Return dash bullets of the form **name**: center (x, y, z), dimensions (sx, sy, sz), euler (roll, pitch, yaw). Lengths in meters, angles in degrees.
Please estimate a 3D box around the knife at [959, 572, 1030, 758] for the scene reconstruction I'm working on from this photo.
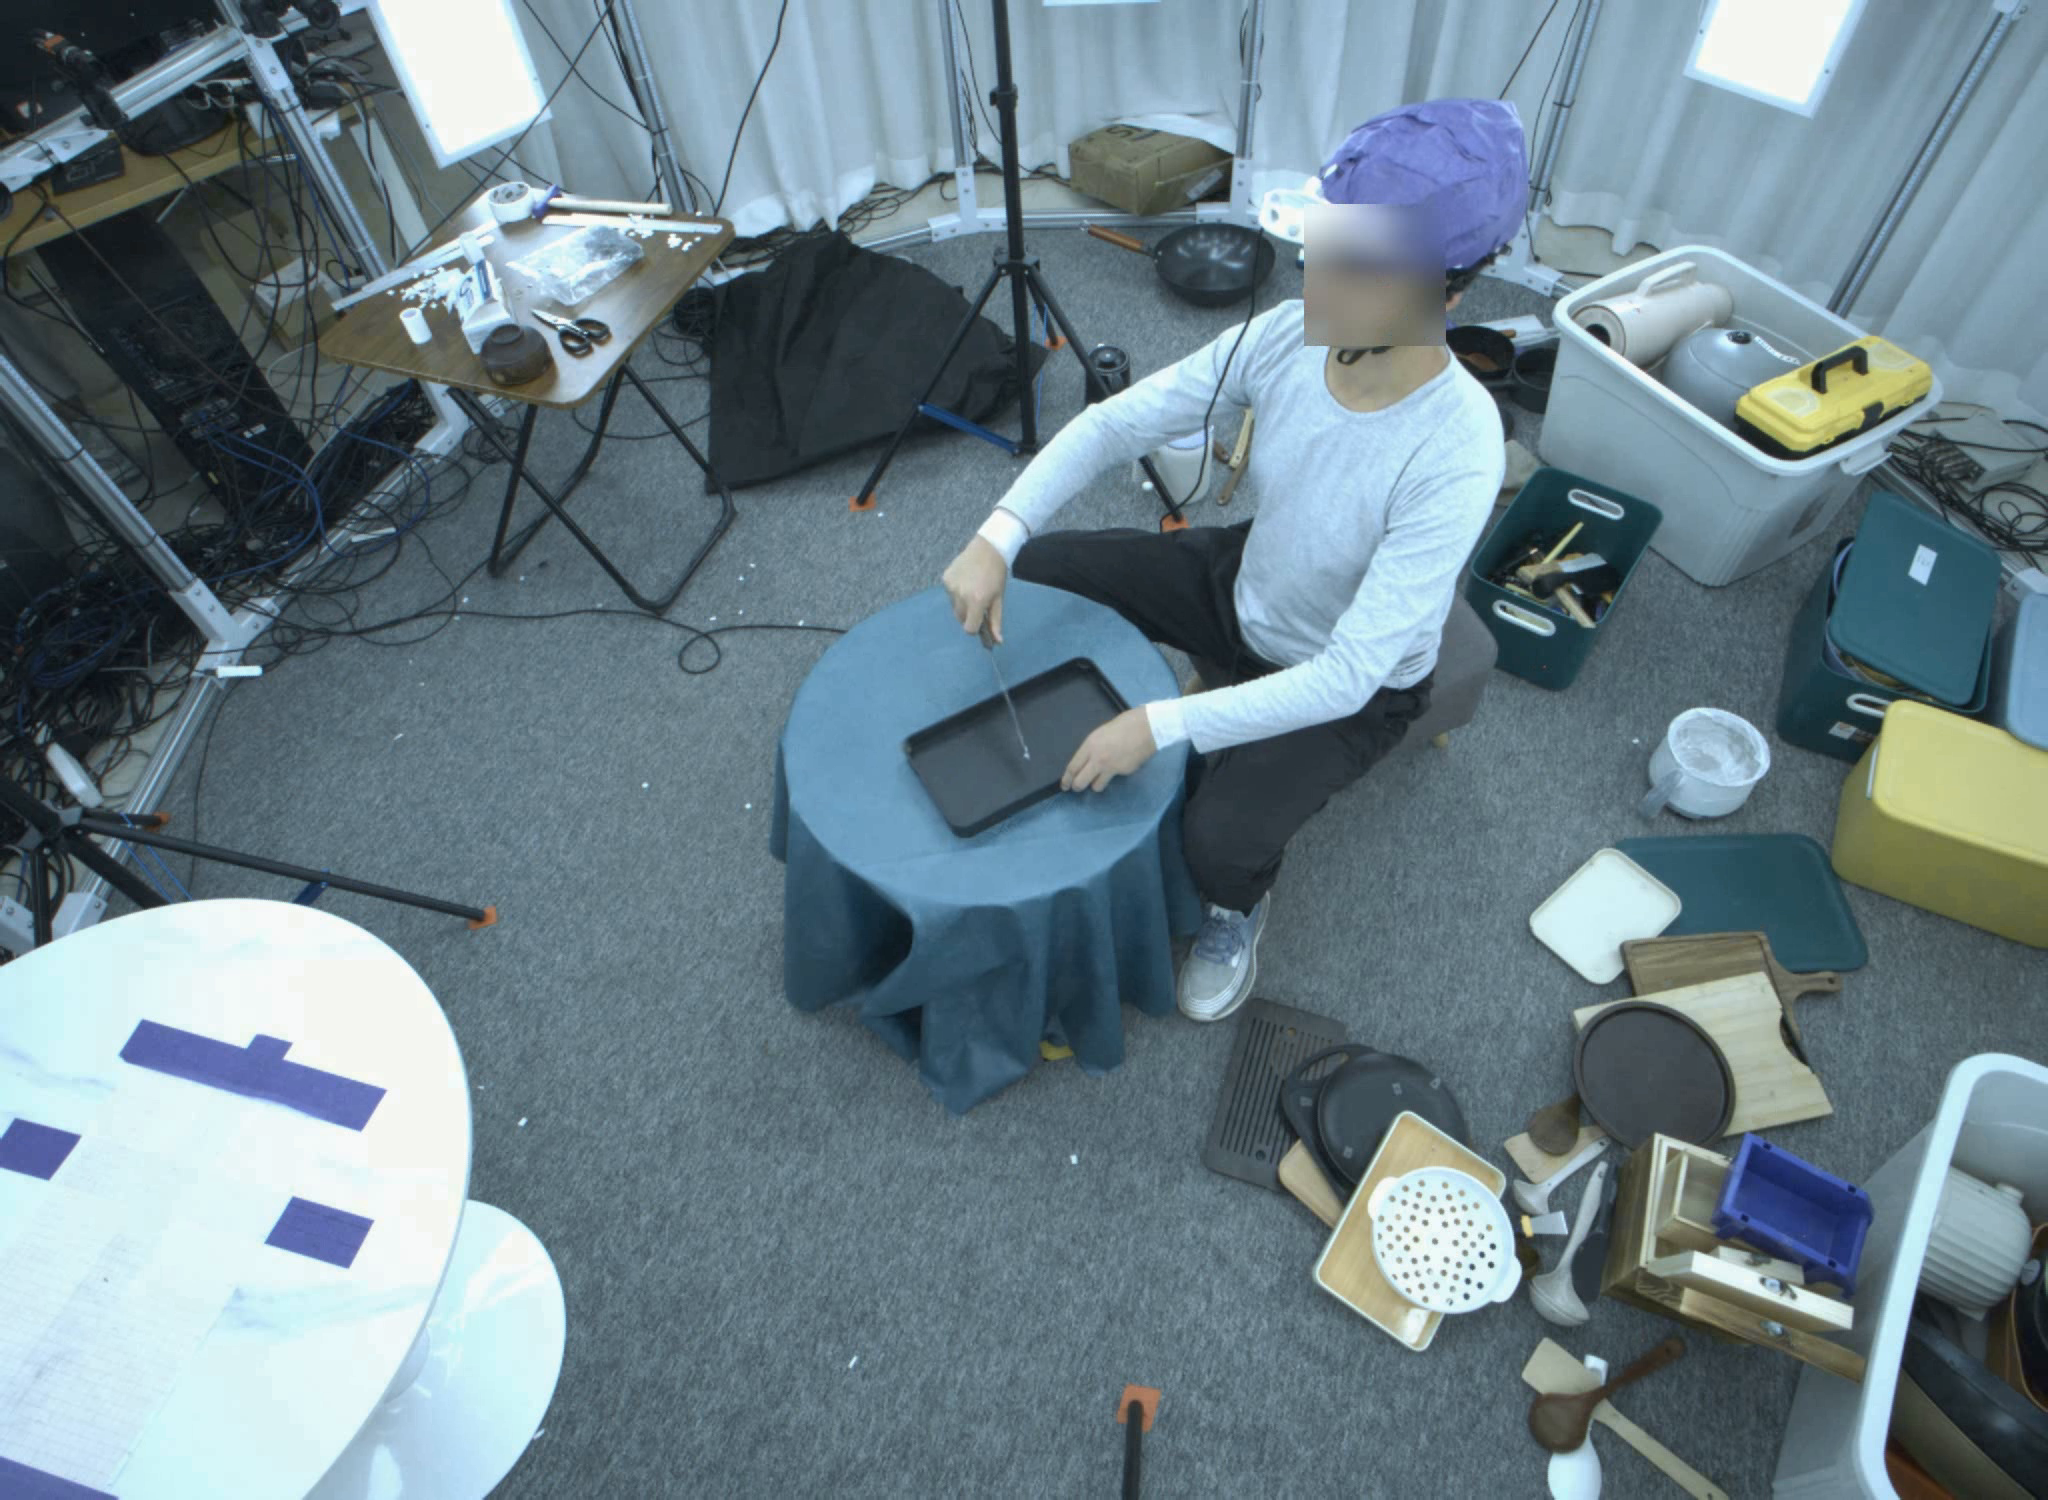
- **knife**: center (-0.040, -0.123, 1.765), dimensions (0.020, 0.050, 0.287), euler (-20, 82, 0)

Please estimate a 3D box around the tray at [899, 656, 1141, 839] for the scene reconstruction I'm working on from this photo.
- **tray**: center (-0.005, -0.008, 1.779), dimensions (0.320, 0.037, 0.181), euler (-28, 58, -18)
